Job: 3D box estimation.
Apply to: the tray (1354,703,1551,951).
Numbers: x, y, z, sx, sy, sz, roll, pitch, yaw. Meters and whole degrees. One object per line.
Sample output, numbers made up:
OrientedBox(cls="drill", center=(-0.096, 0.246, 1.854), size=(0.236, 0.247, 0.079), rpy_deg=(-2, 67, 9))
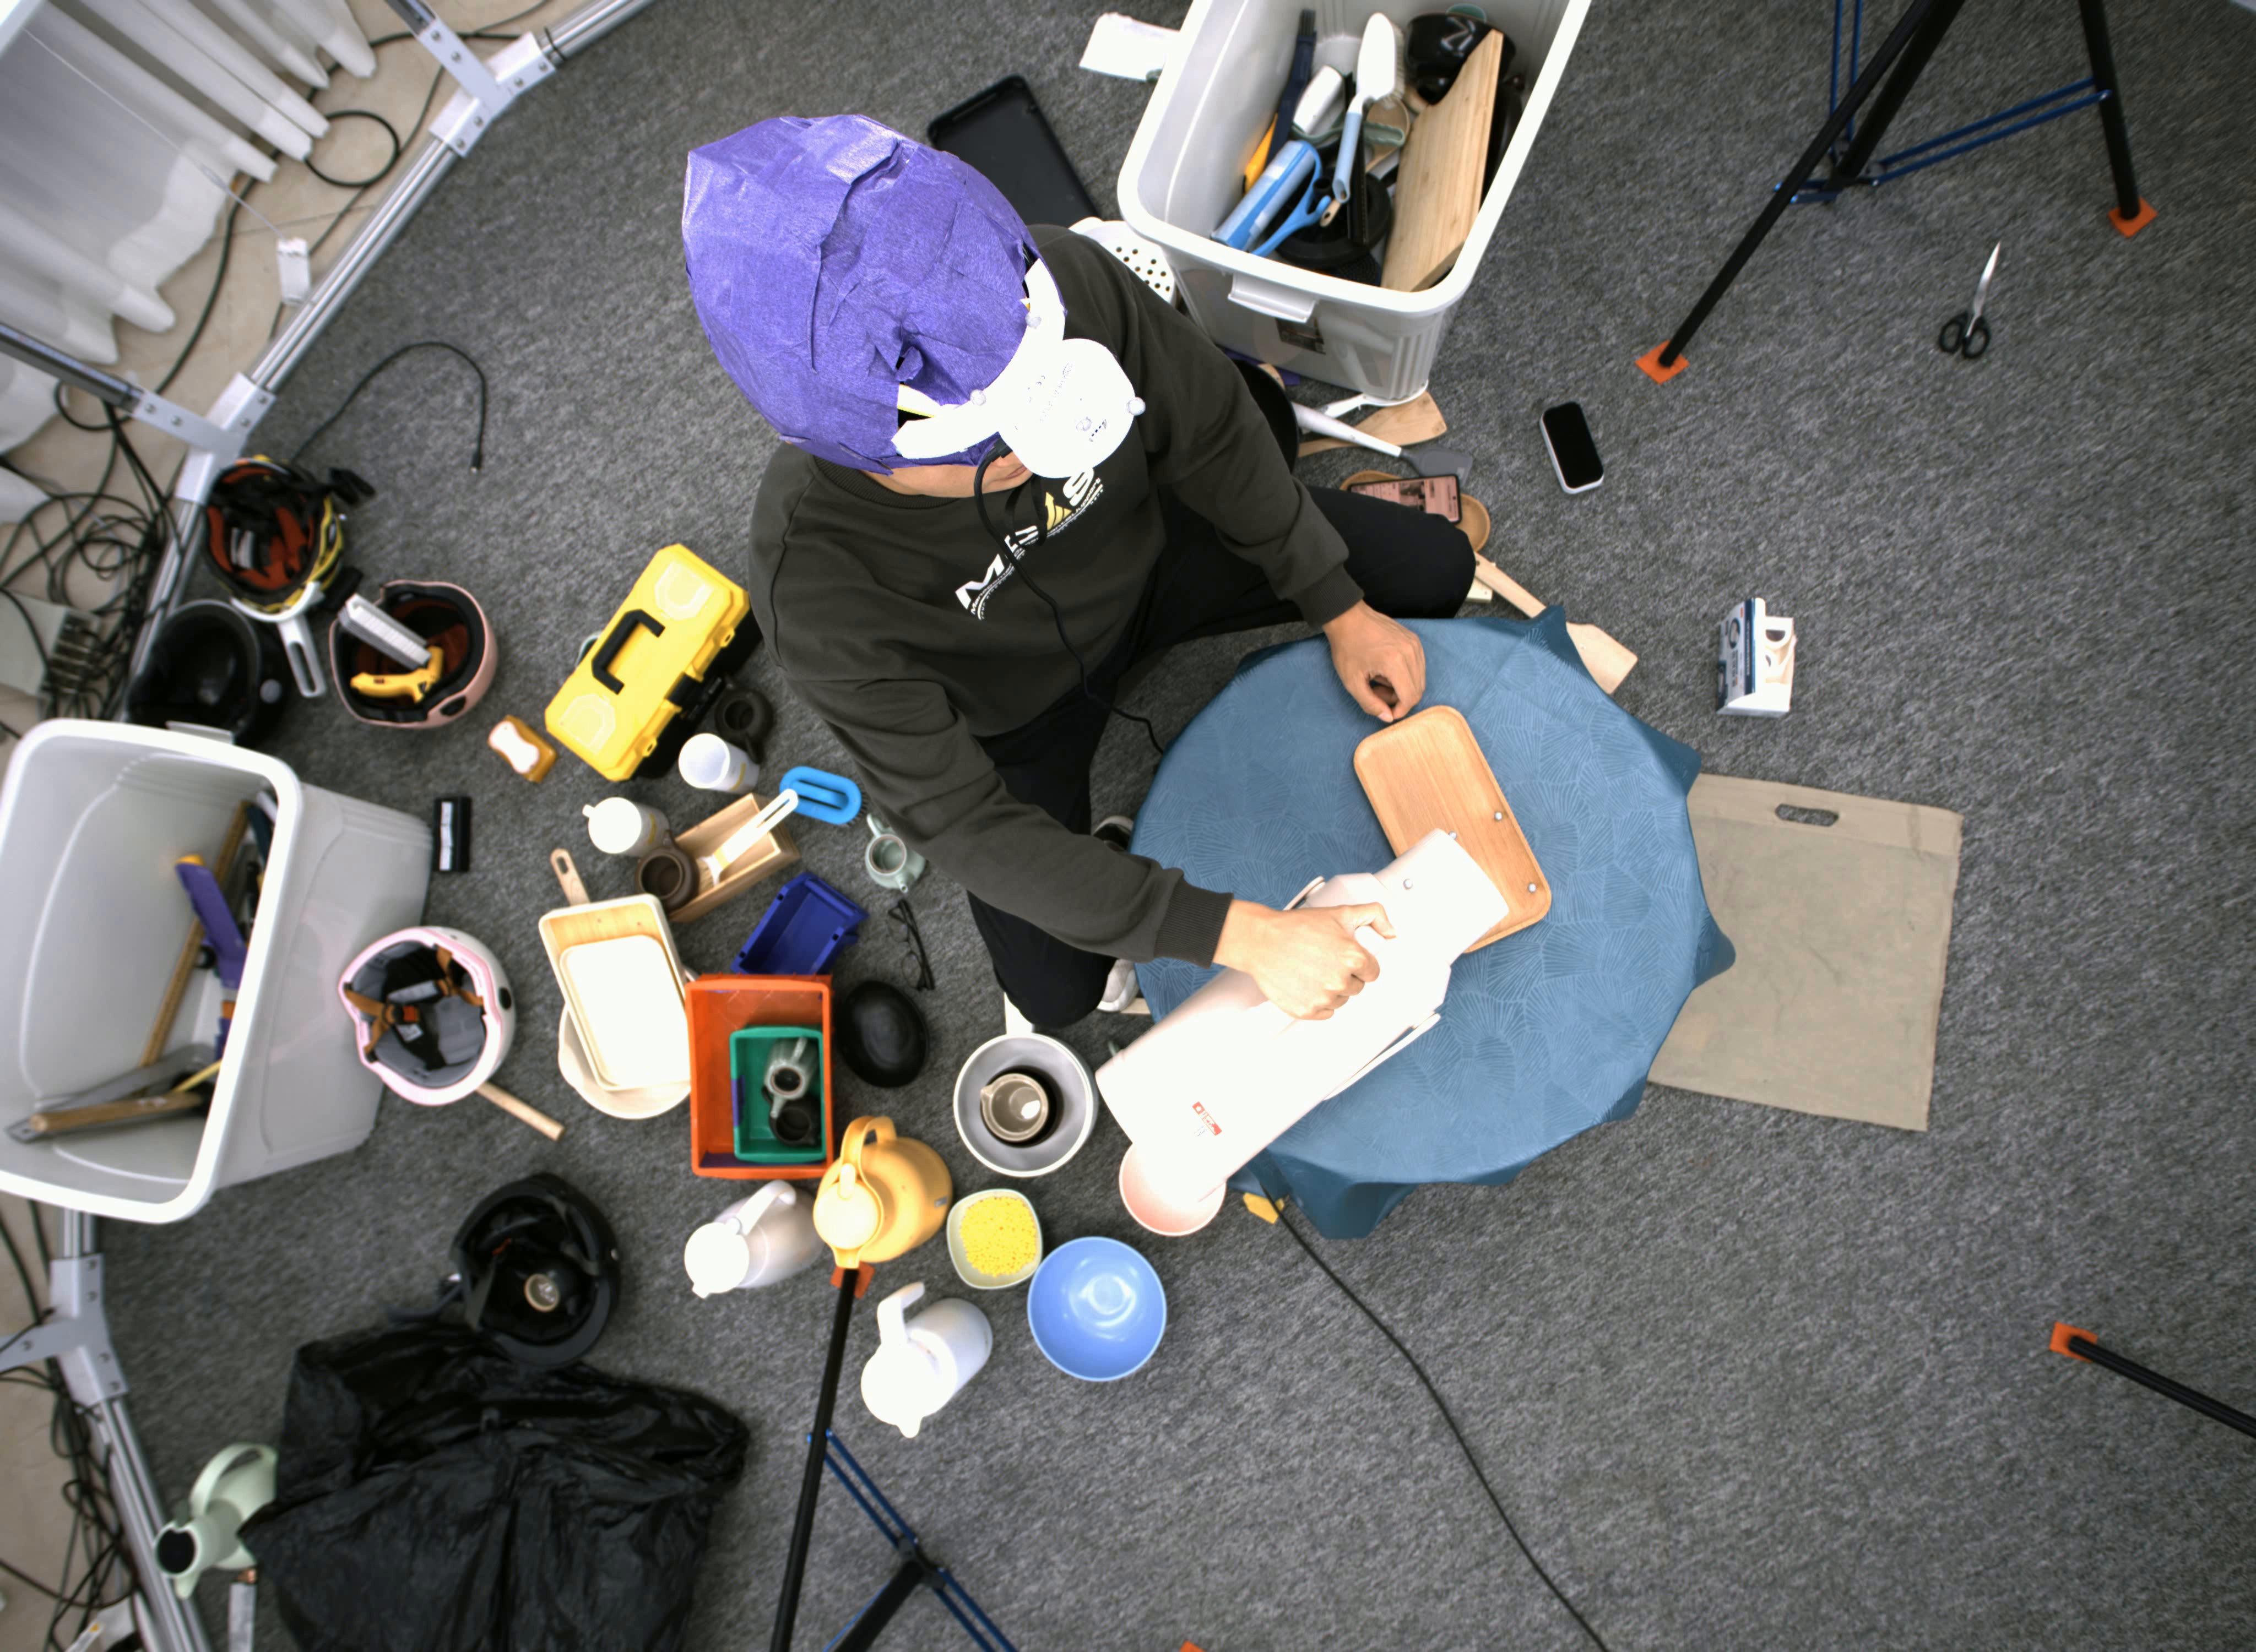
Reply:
OrientedBox(cls="tray", center=(0.339, -0.001, 1.443), size=(0.131, 0.023, 0.249), rpy_deg=(-24, 82, 6))

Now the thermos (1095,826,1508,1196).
OrientedBox(cls="thermos", center=(0.165, 0.163, 1.303), size=(0.408, 0.208, 0.174), rpy_deg=(-39, 75, 6))
